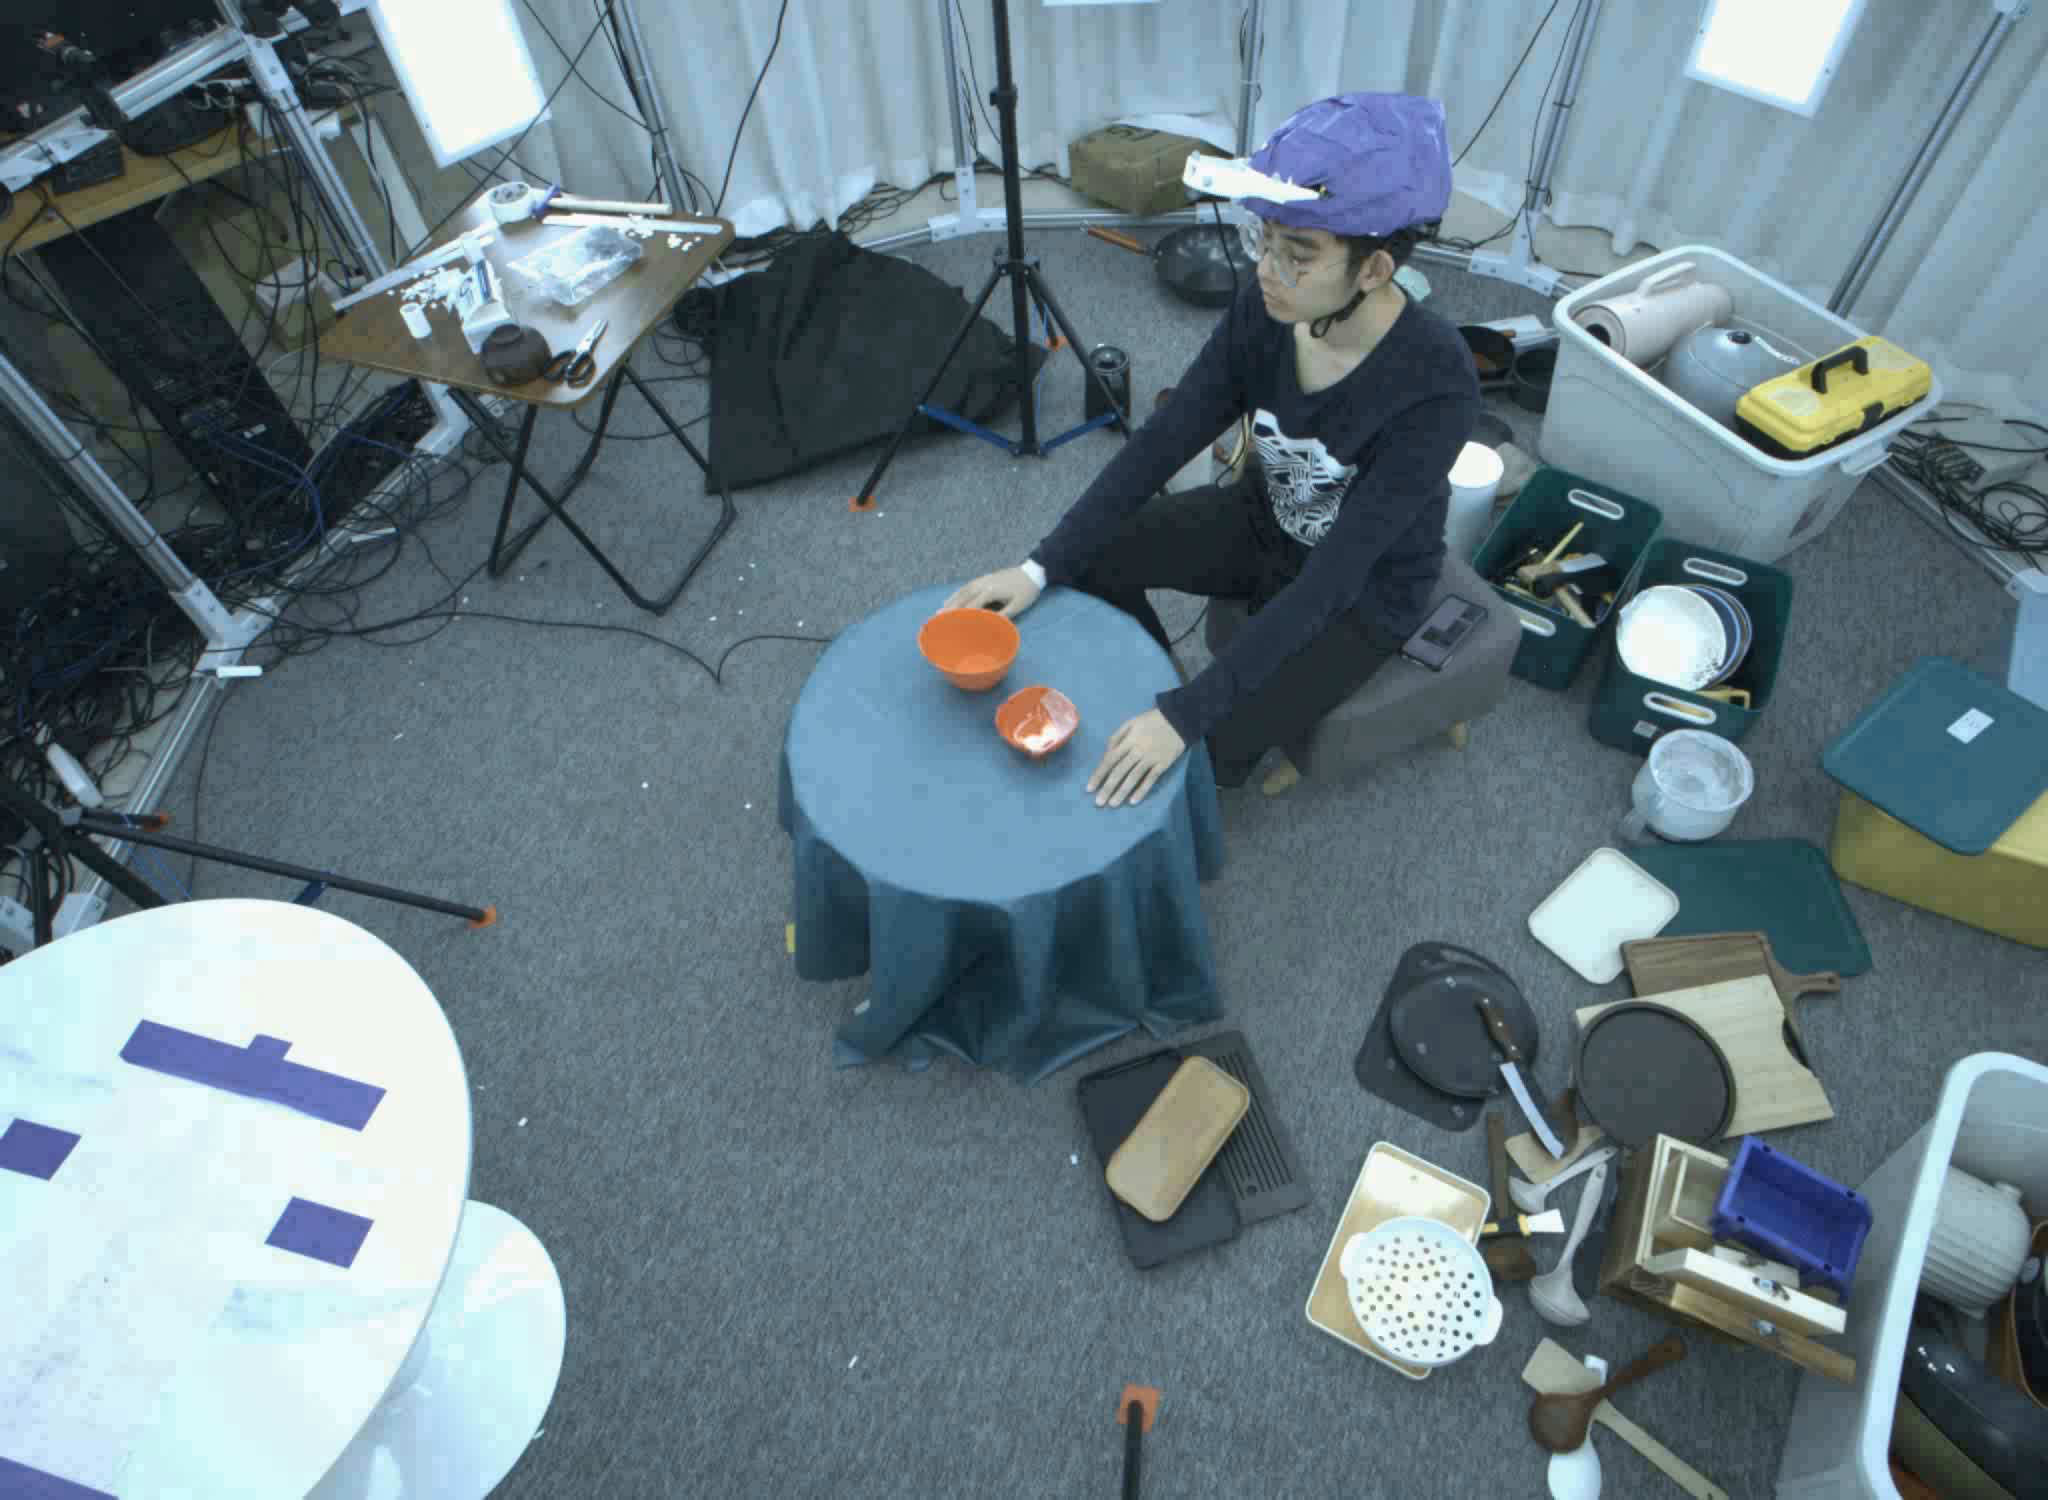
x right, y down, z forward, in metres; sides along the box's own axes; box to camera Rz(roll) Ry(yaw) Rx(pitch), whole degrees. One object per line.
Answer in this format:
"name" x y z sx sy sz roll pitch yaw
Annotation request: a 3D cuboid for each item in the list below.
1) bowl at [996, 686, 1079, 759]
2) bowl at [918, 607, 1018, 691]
"bowl" 0.021 -0.033 1.787 0.119 0.052 0.117 -1 53 2
"bowl" -0.080 -0.138 1.834 0.148 0.106 0.146 -1 54 2
